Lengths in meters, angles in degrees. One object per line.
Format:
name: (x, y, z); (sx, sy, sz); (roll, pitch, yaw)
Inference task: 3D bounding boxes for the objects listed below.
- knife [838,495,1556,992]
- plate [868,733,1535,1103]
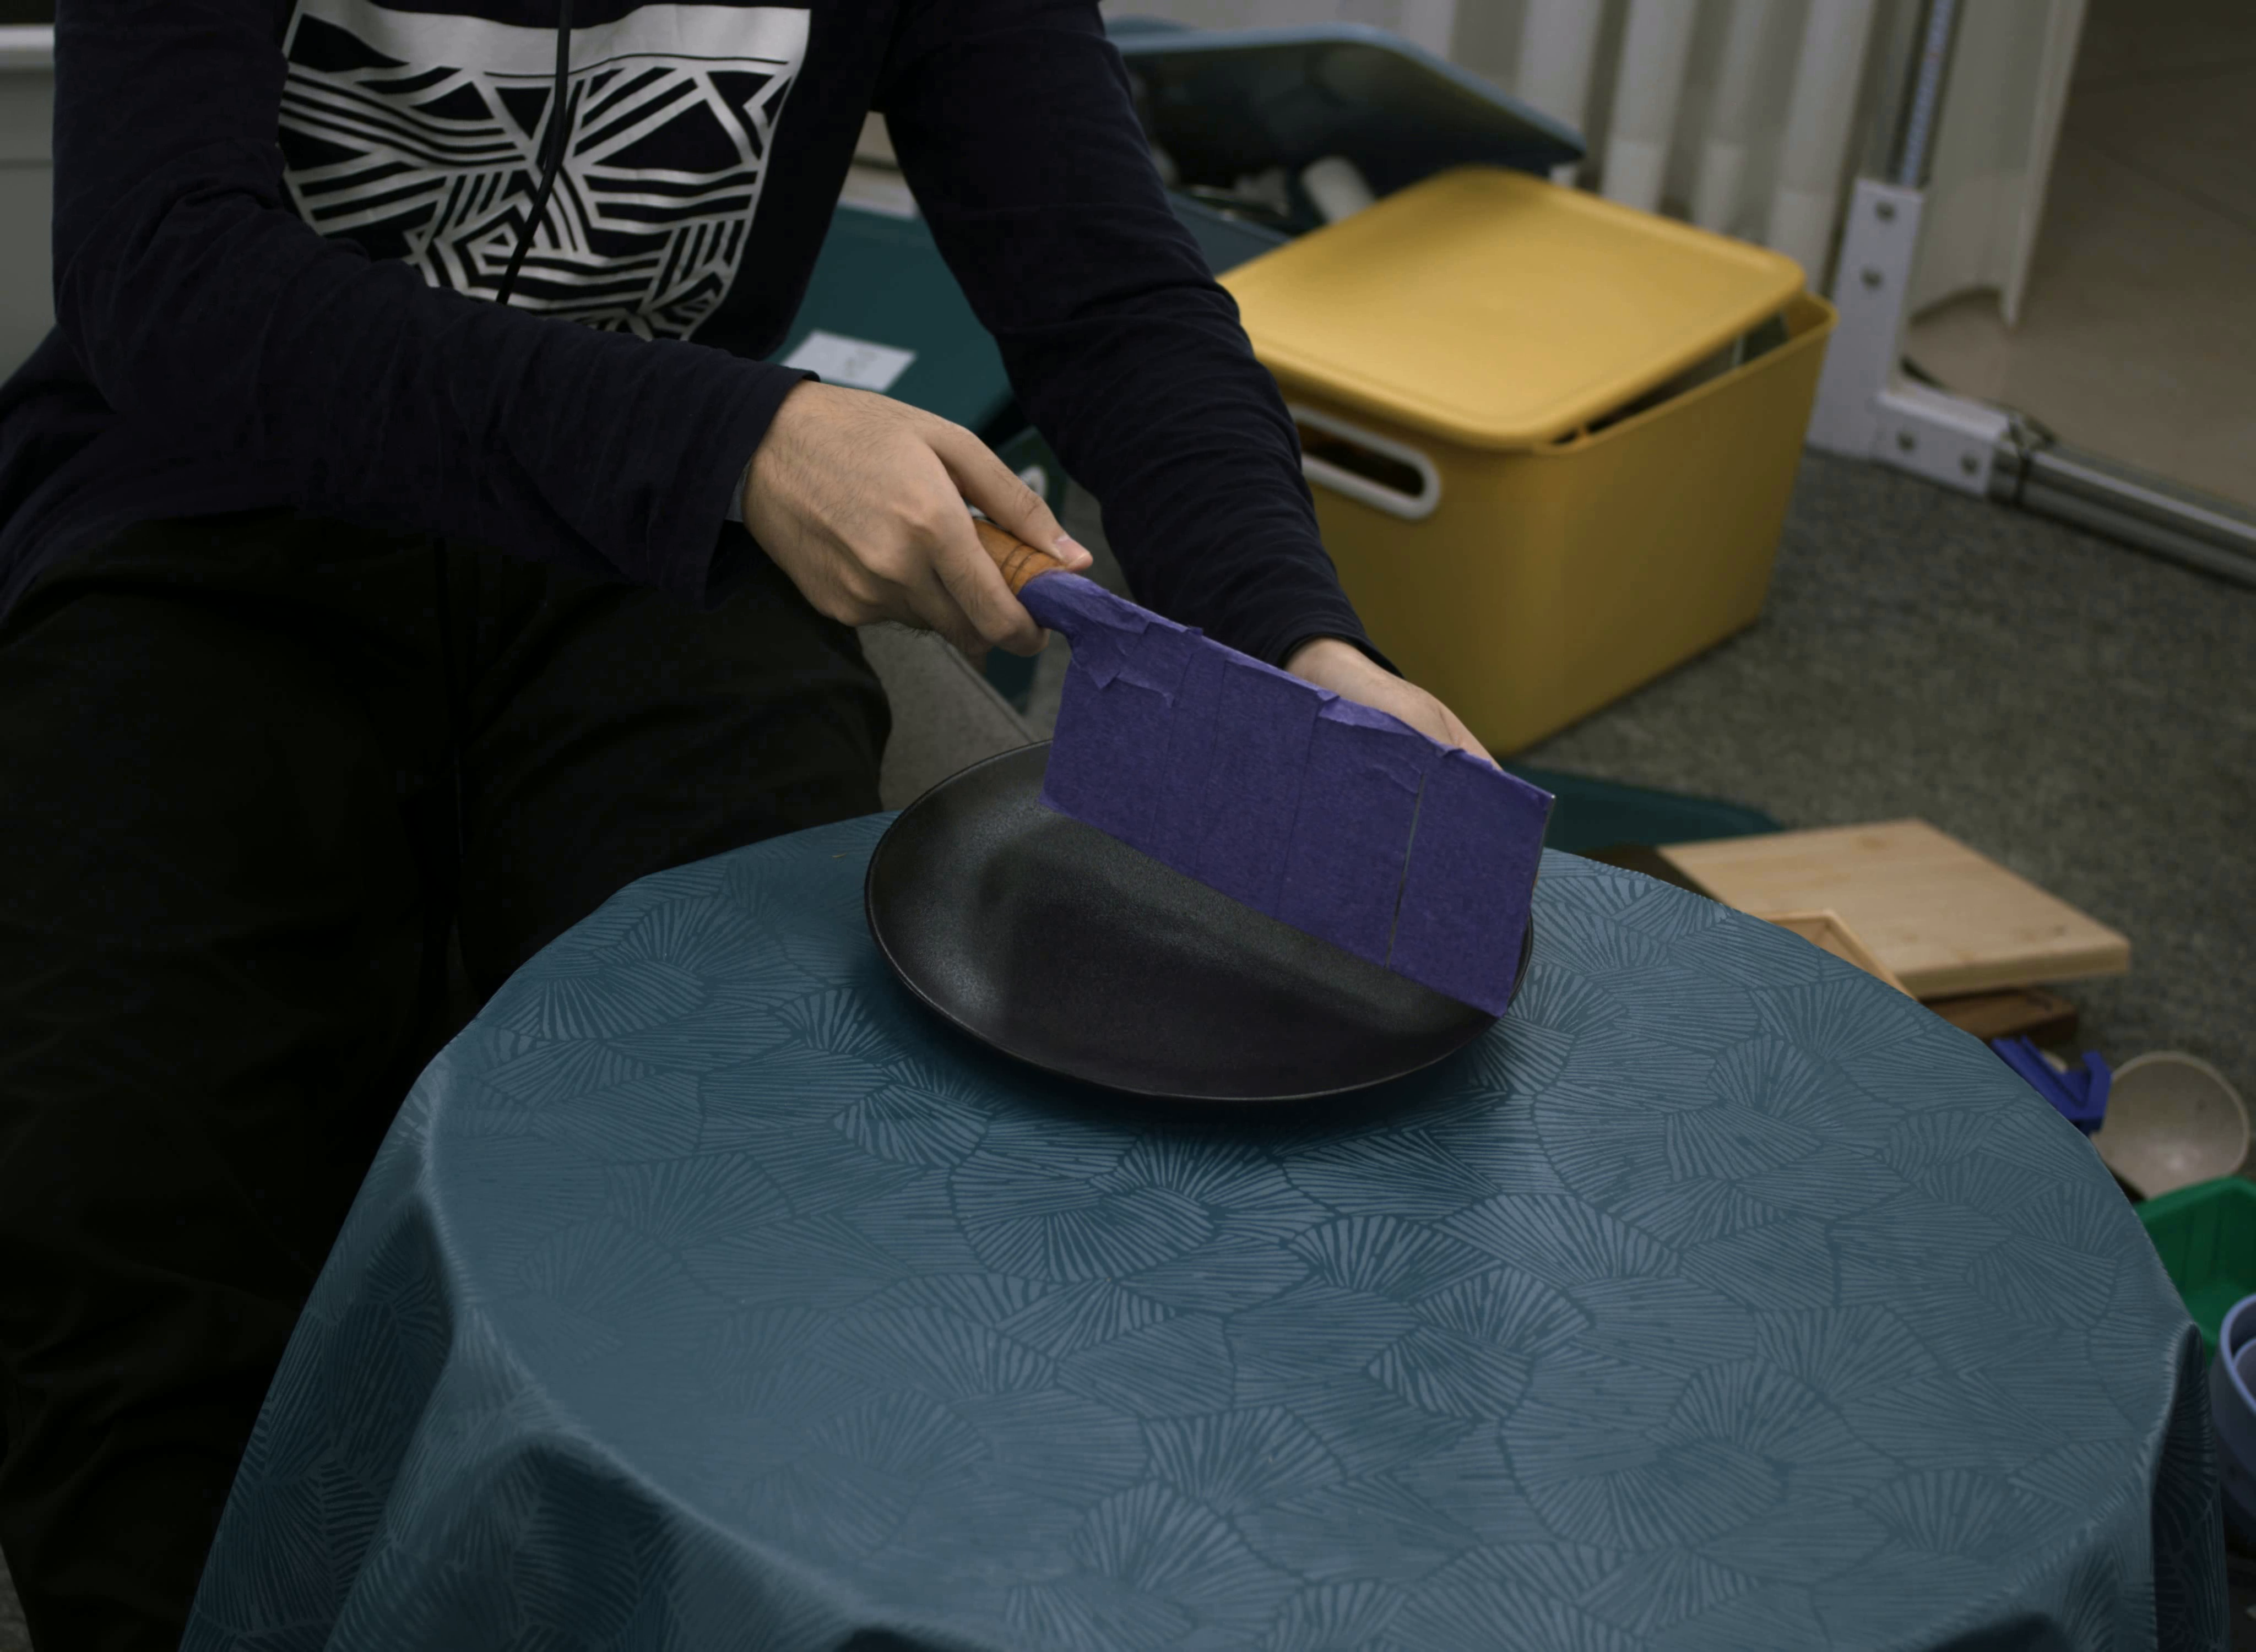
knife: (0.015, -0.028, 1.933); (0.317, 0.103, 0.032); (25, 24, 32)
plate: (0.026, 0.036, 1.937); (0.243, 0.023, 0.246); (2, 33, -2)
